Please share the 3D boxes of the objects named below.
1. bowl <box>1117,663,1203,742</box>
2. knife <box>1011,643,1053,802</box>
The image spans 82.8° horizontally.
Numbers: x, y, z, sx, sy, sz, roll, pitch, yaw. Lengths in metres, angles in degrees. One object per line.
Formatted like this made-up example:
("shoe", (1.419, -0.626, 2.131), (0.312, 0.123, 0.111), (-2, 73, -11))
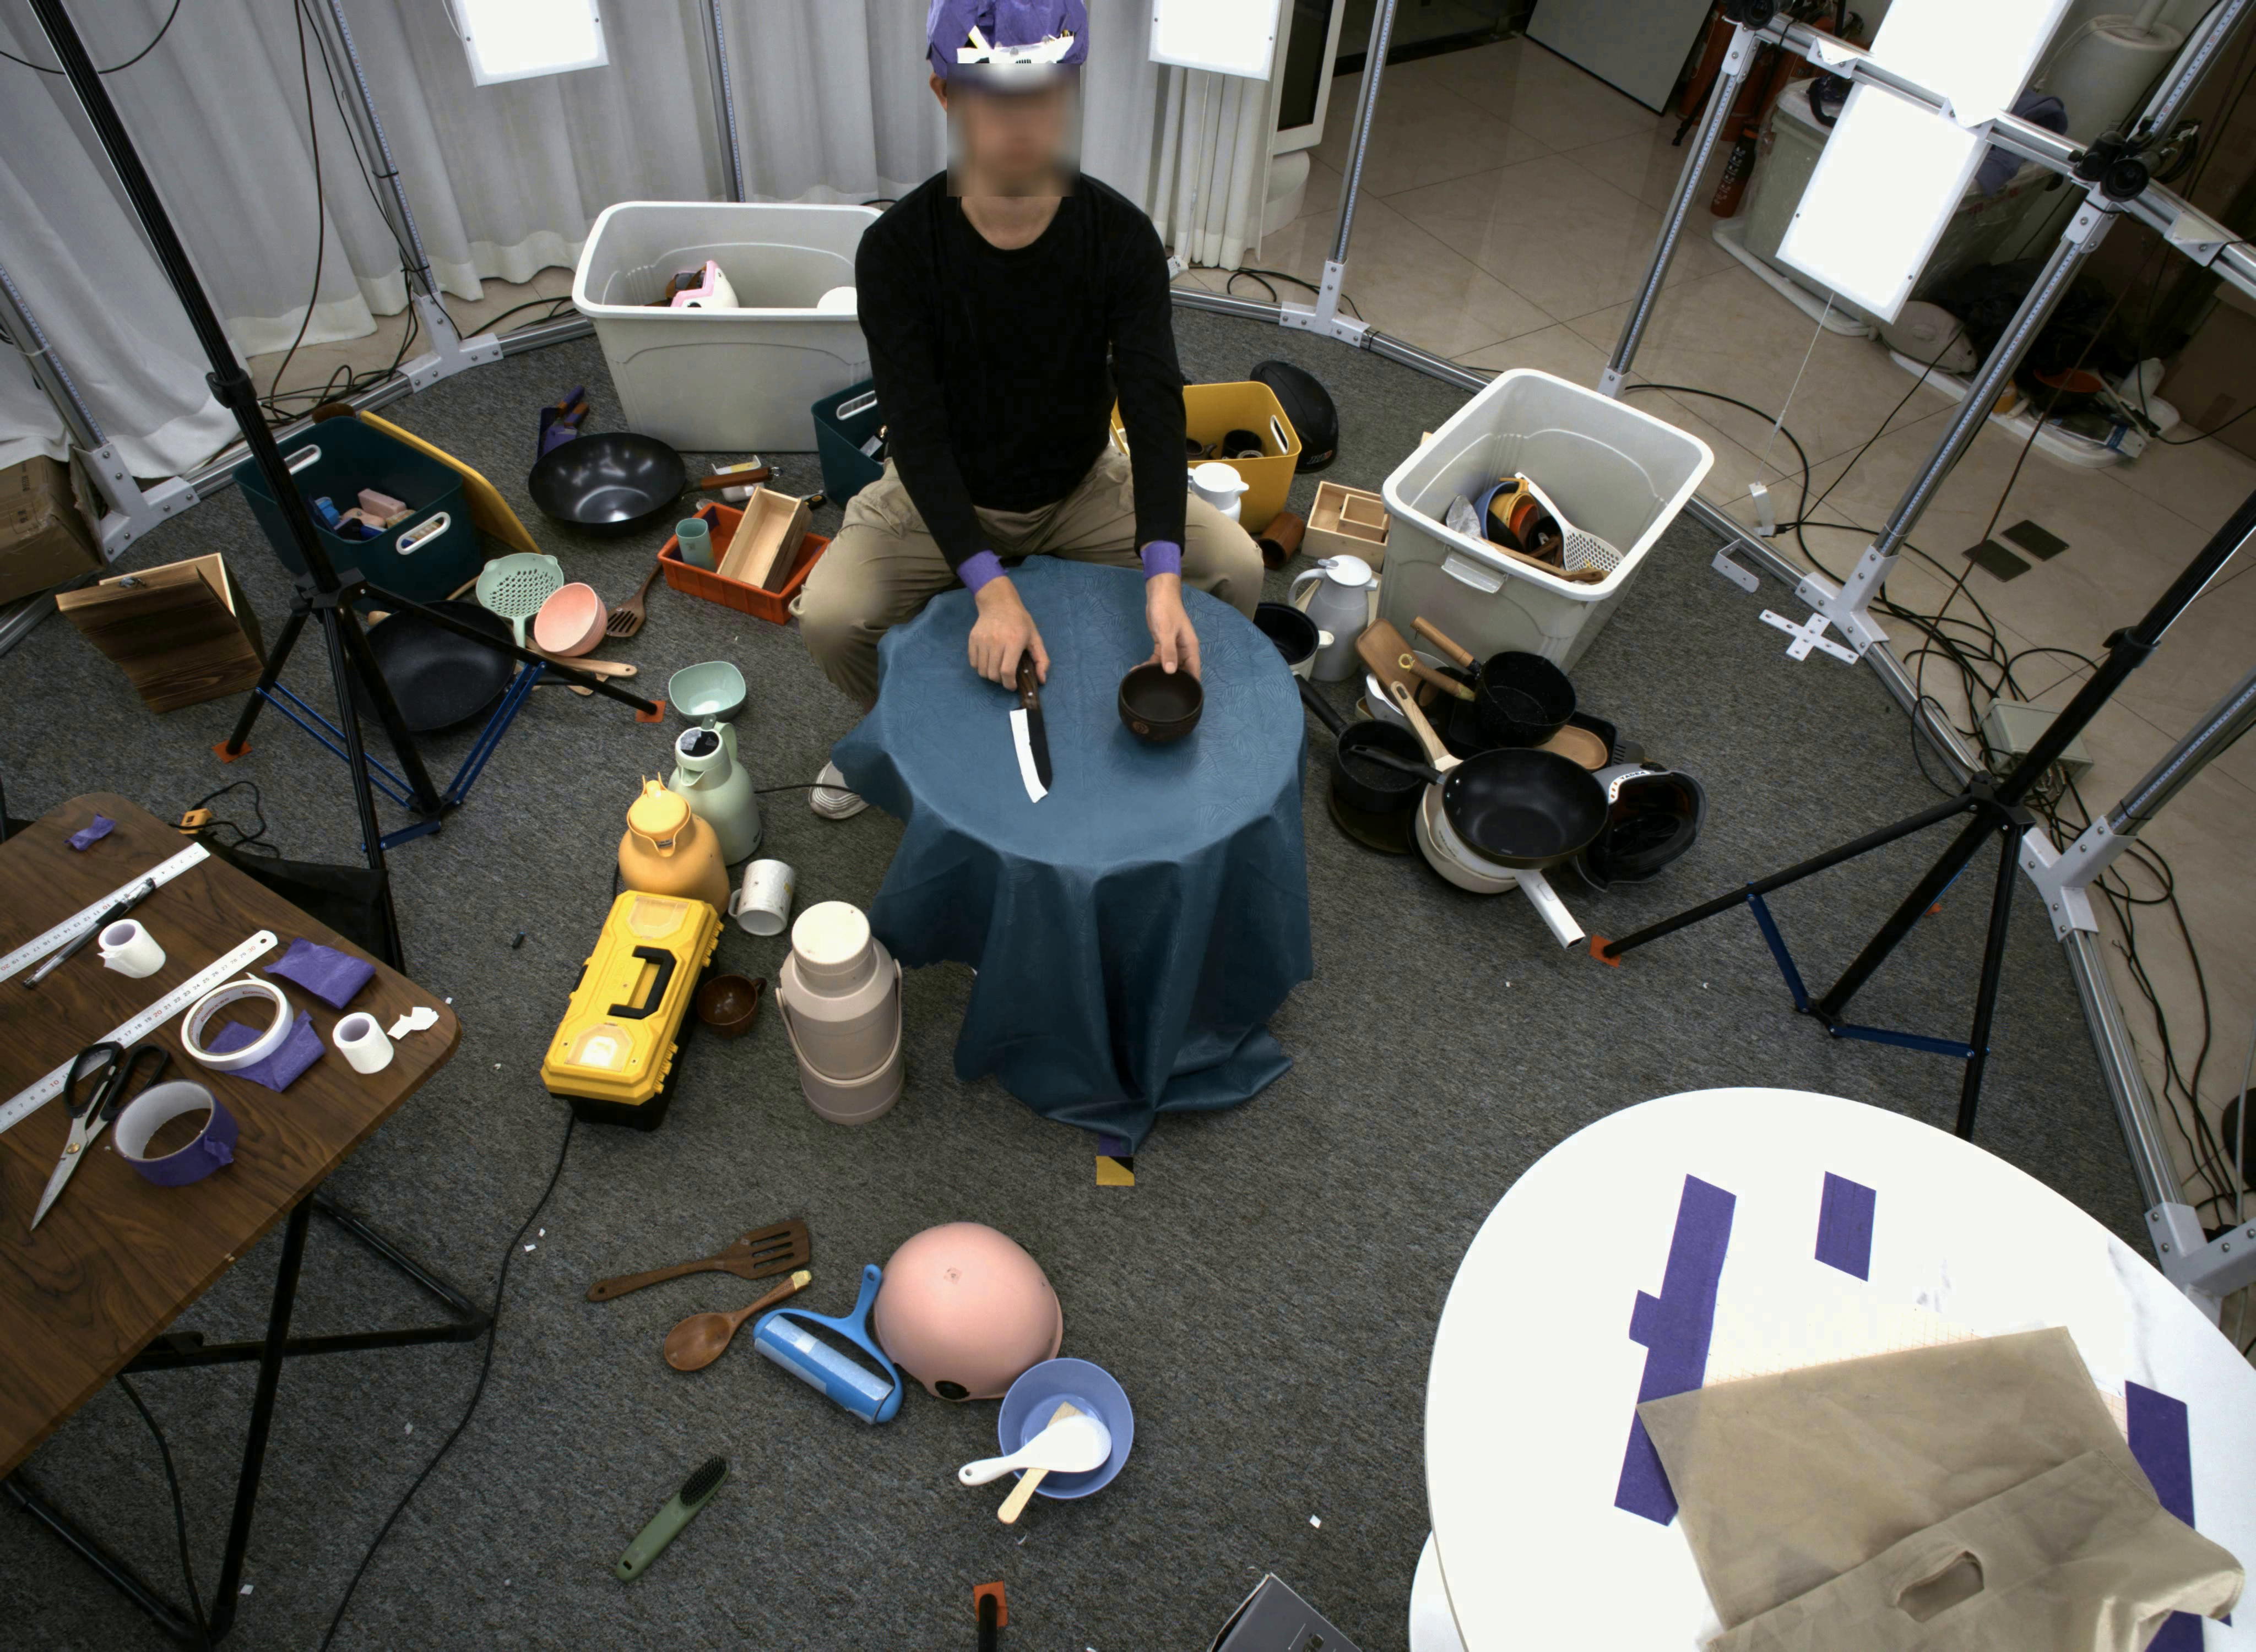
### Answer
("bowl", (0.043, -0.162, 1.767), (0.118, 0.068, 0.121), (1, 48, -2))
("knife", (-0.137, -0.147, 1.779), (0.050, 0.019, 0.296), (-8, 52, -1))
